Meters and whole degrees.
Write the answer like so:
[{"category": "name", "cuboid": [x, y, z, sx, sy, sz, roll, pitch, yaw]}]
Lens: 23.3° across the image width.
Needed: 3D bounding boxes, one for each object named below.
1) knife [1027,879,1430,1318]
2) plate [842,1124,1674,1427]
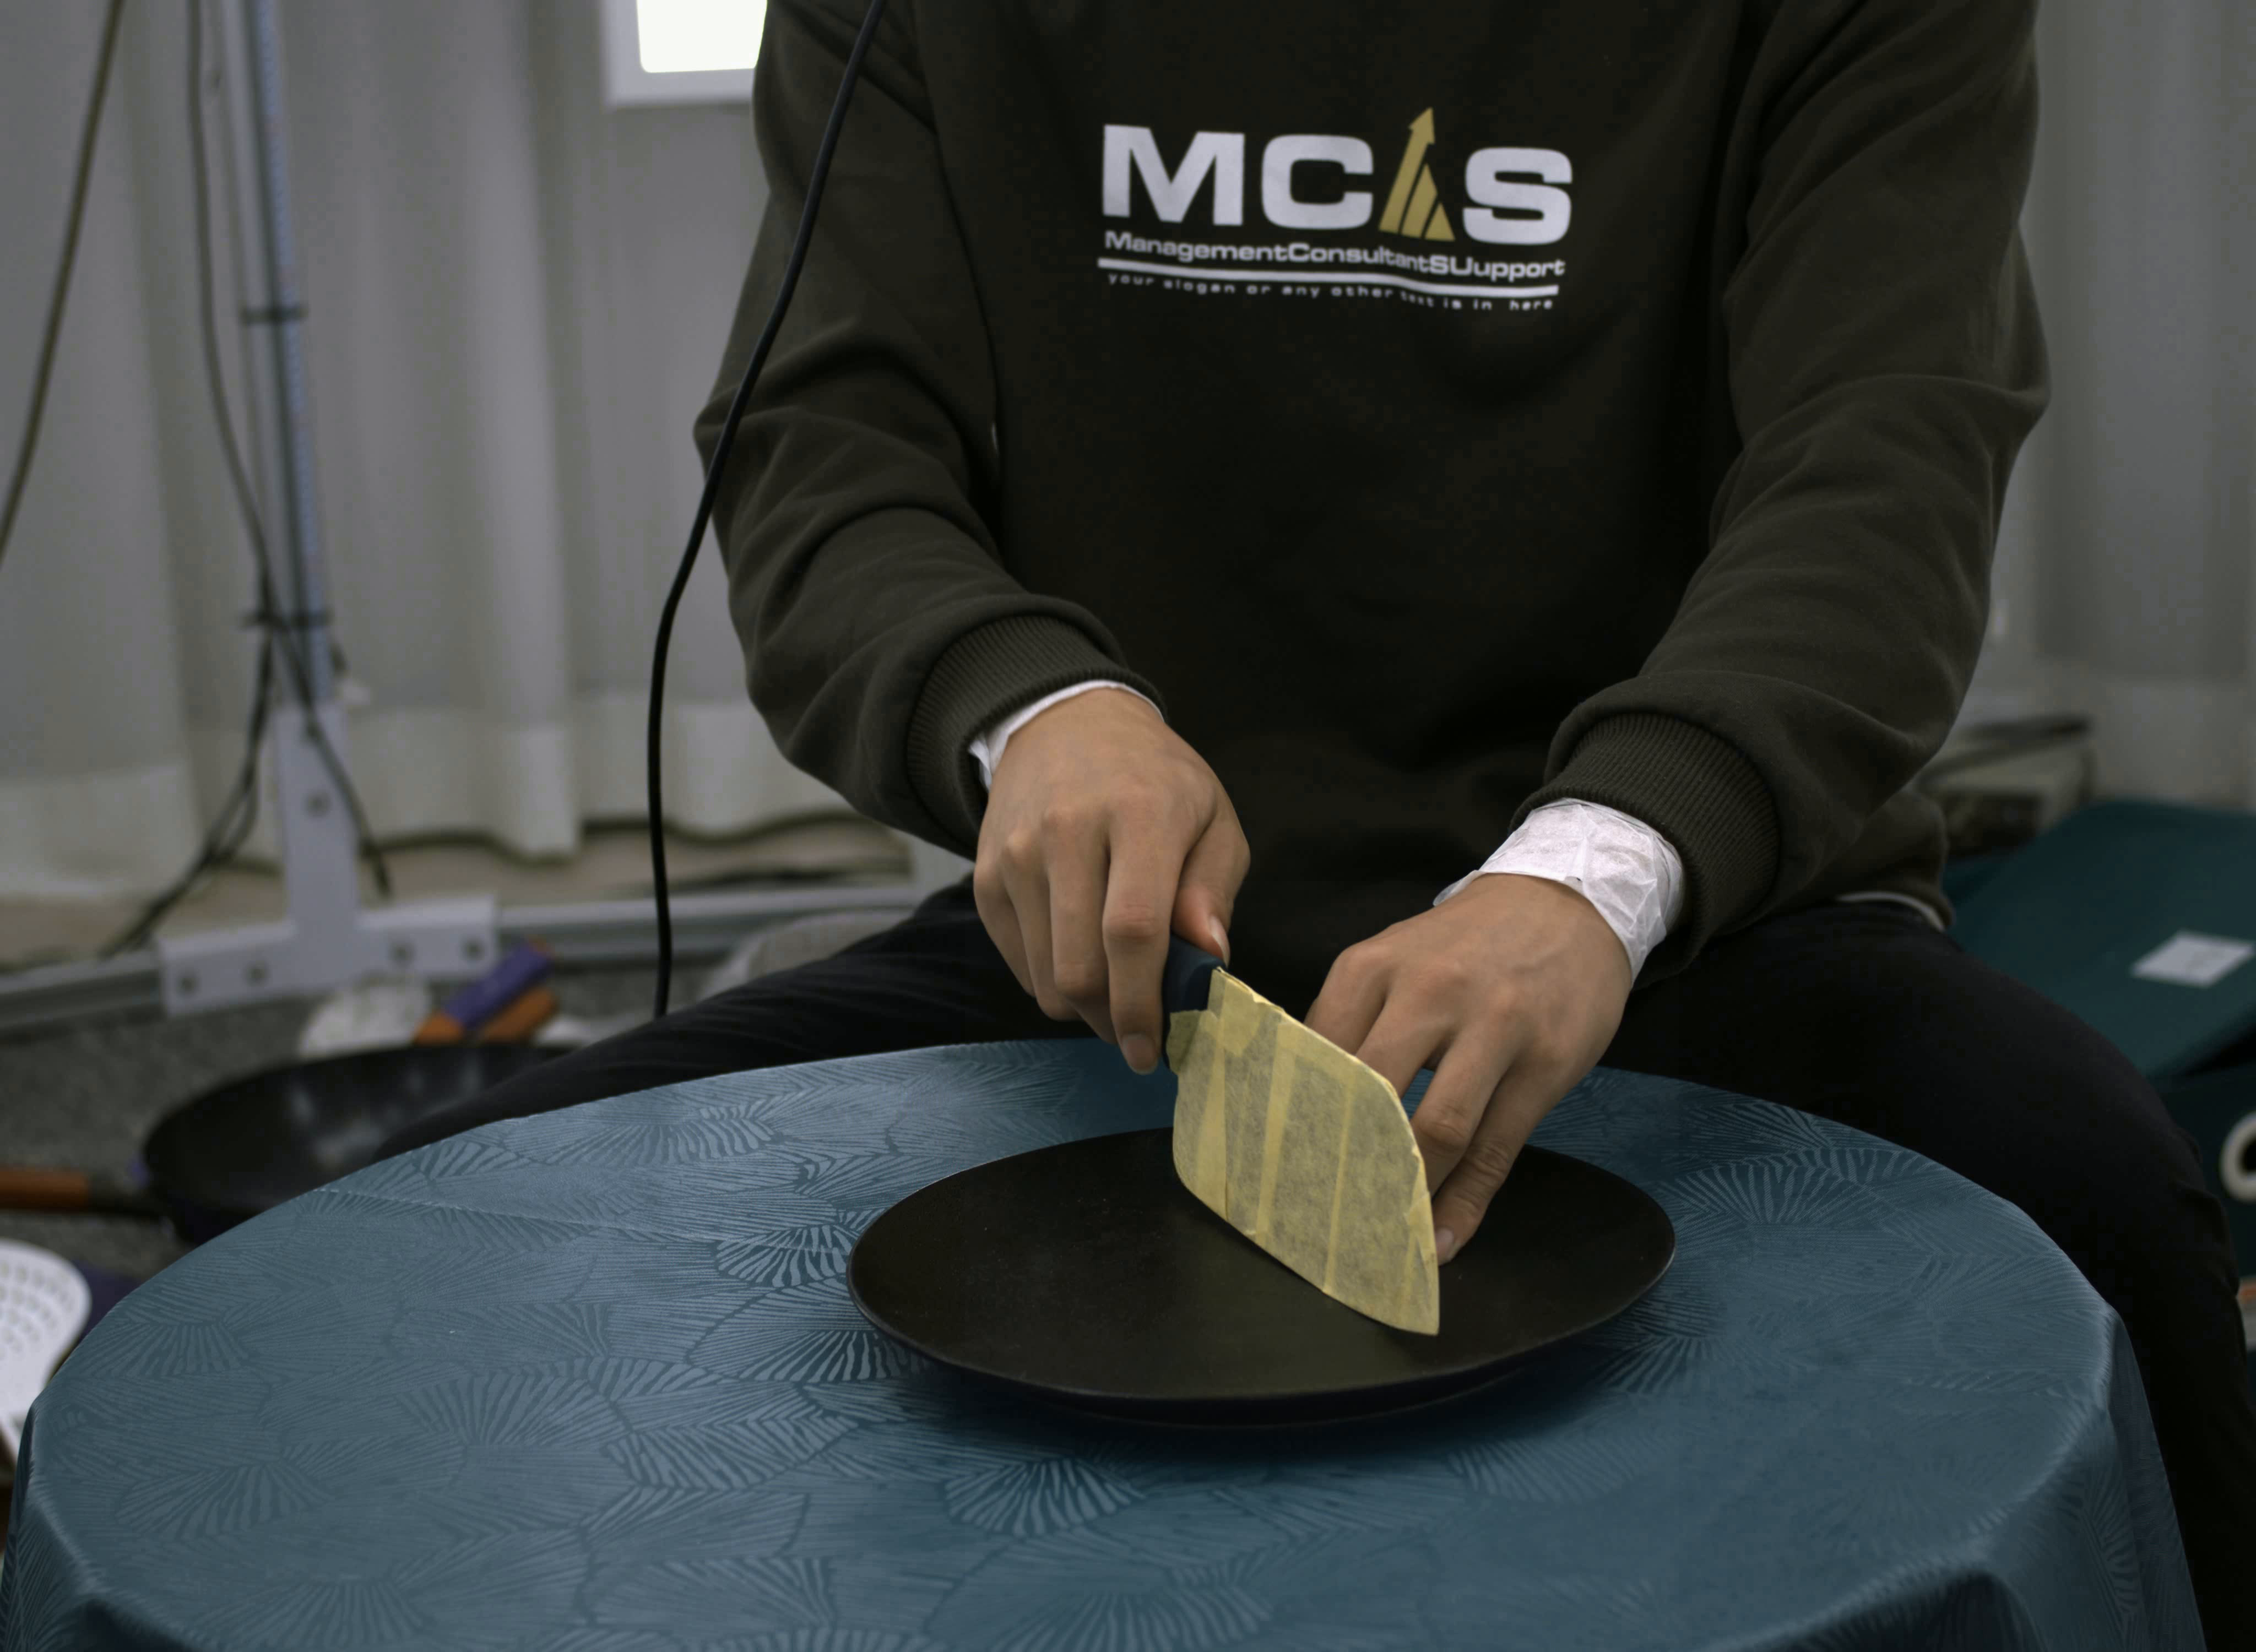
[{"category": "knife", "cuboid": [0.029, 0.078, 1.656, 0.027, 0.081, 0.292, 4, 17, -24]}, {"category": "plate", "cuboid": [0.038, 0.133, 1.596, 0.243, 0.023, 0.246, -3, 15, 0]}]
